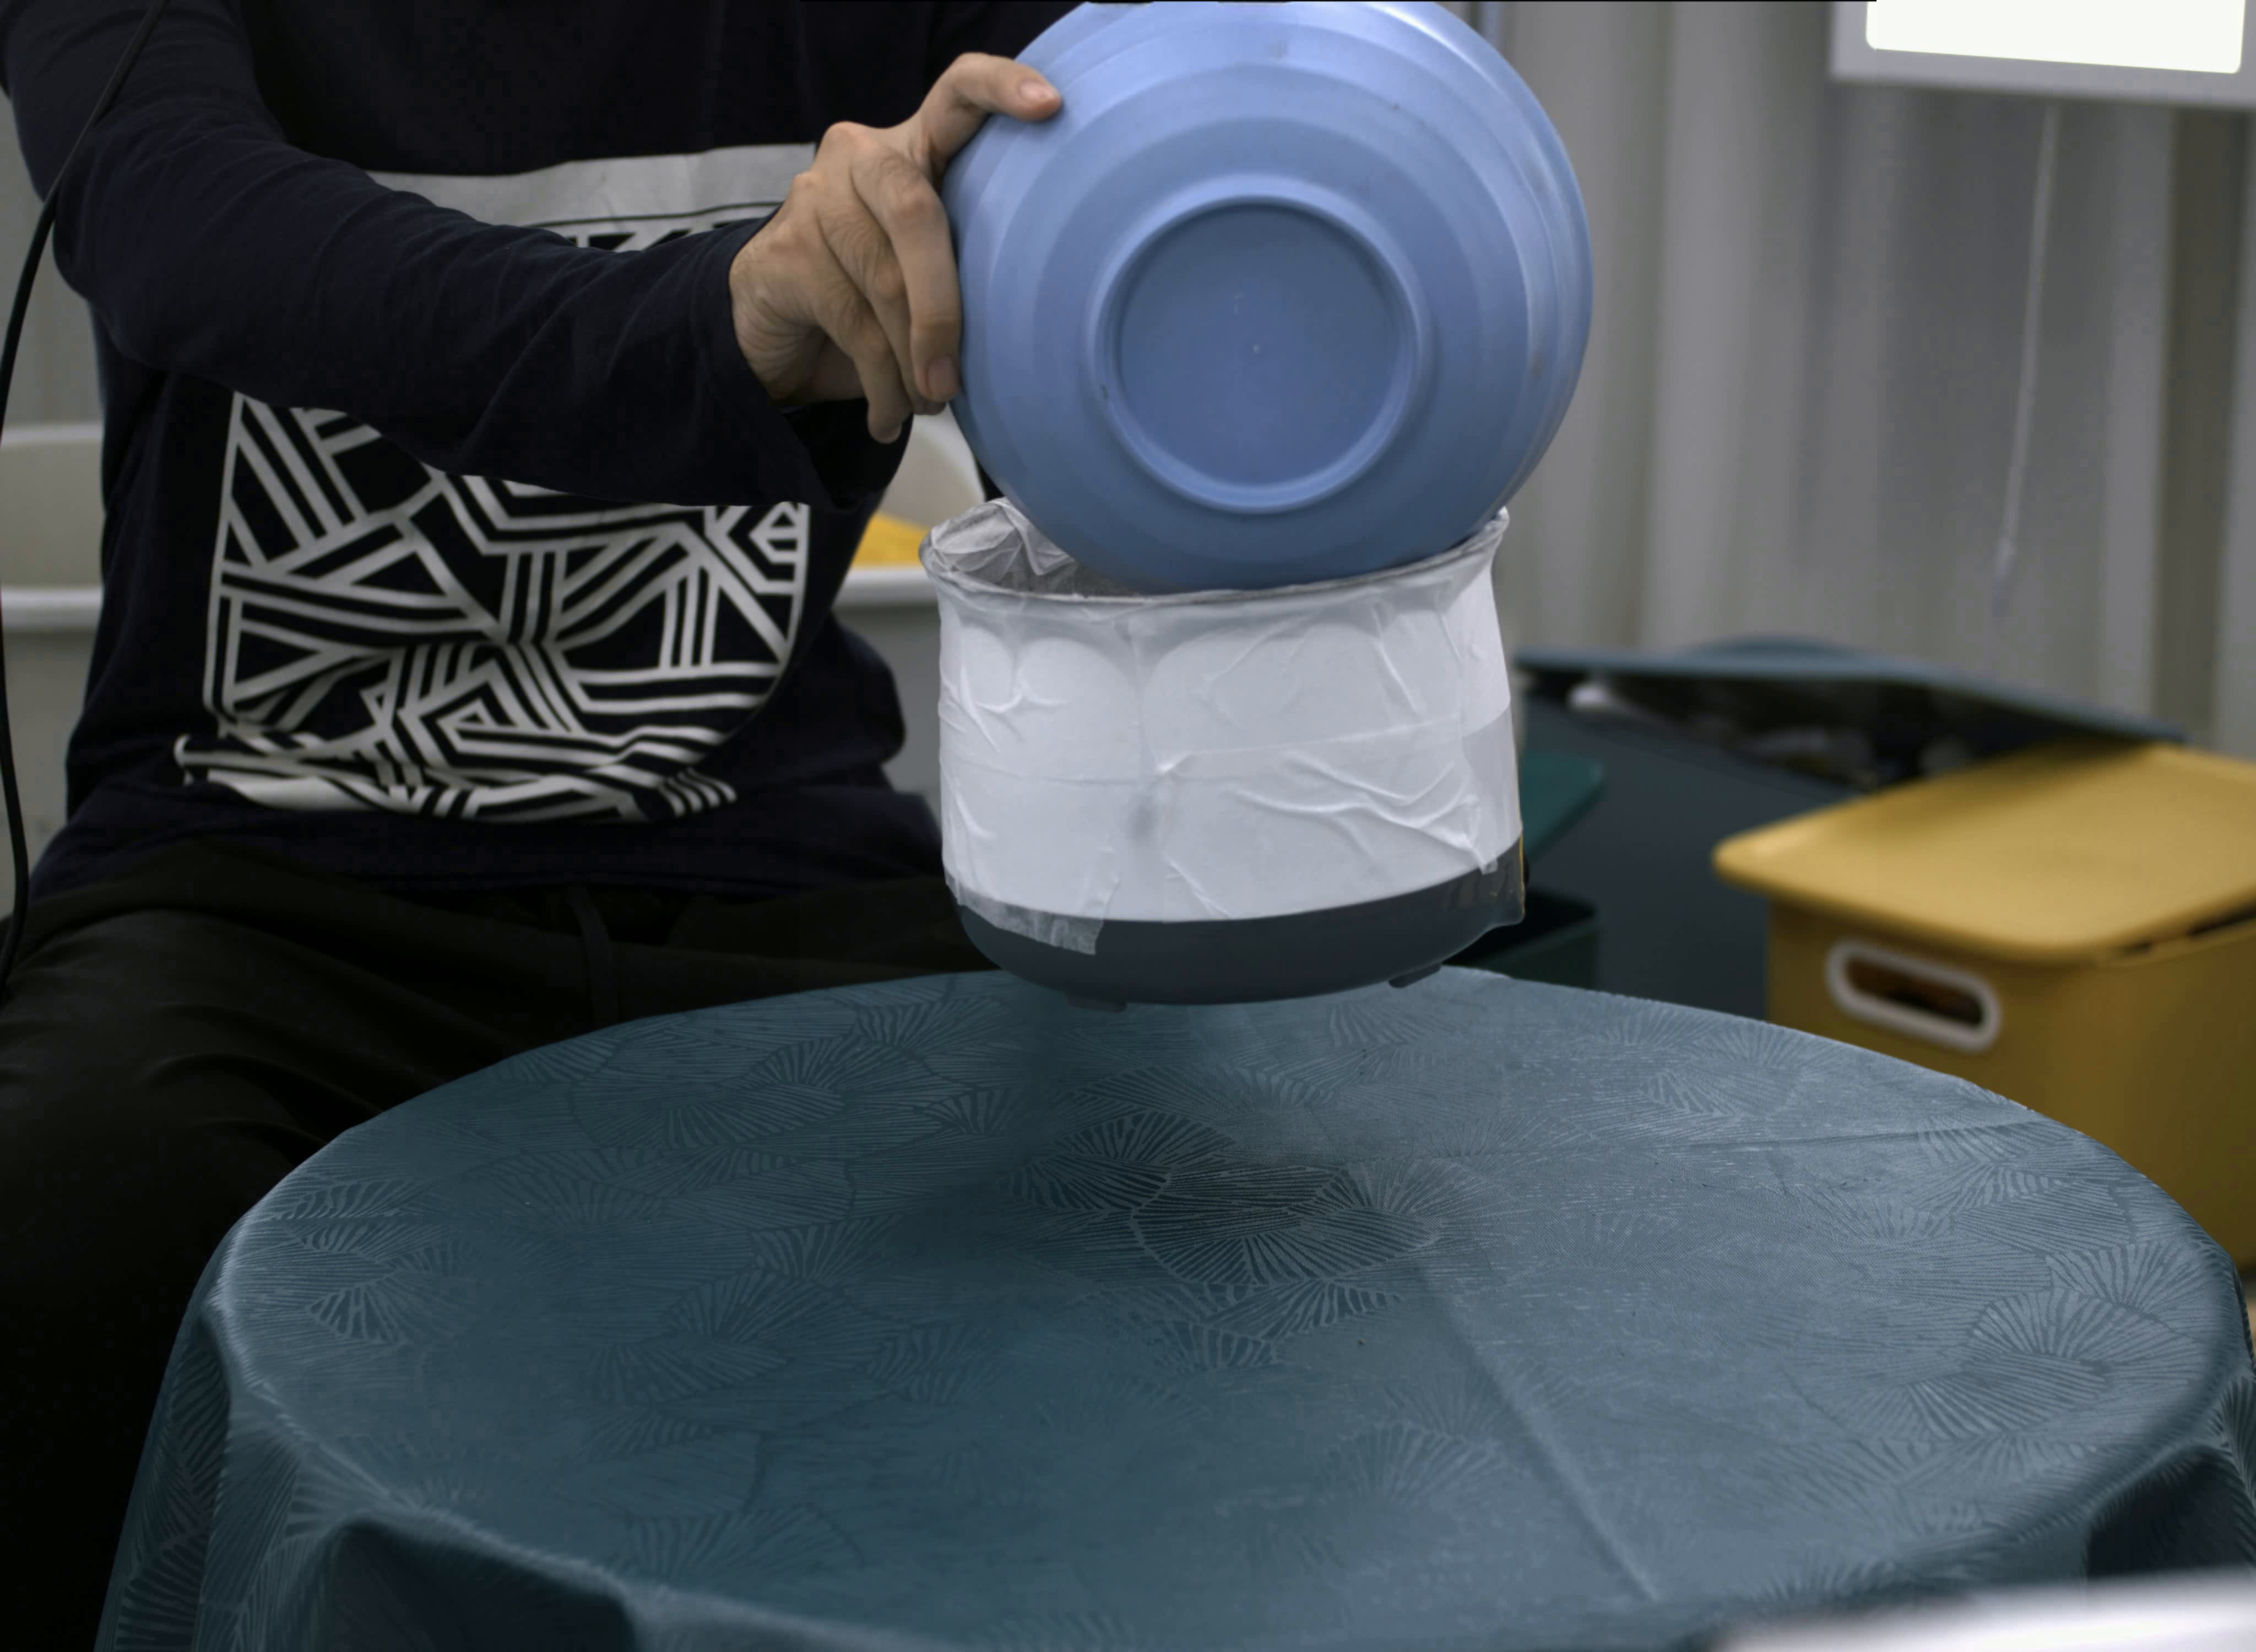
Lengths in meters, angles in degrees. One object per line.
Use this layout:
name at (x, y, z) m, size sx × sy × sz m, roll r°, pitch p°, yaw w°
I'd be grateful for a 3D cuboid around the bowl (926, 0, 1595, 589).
bowl at (0.037, -0.146, 1.496) m, size 0.196 × 0.198 × 0.095 m, roll 1°, pitch 21°, yaw 1°

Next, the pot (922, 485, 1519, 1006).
pot at (0.025, -0.036, 1.609) m, size 0.178 × 0.138 × 0.232 m, roll -3°, pitch 16°, yaw -7°
